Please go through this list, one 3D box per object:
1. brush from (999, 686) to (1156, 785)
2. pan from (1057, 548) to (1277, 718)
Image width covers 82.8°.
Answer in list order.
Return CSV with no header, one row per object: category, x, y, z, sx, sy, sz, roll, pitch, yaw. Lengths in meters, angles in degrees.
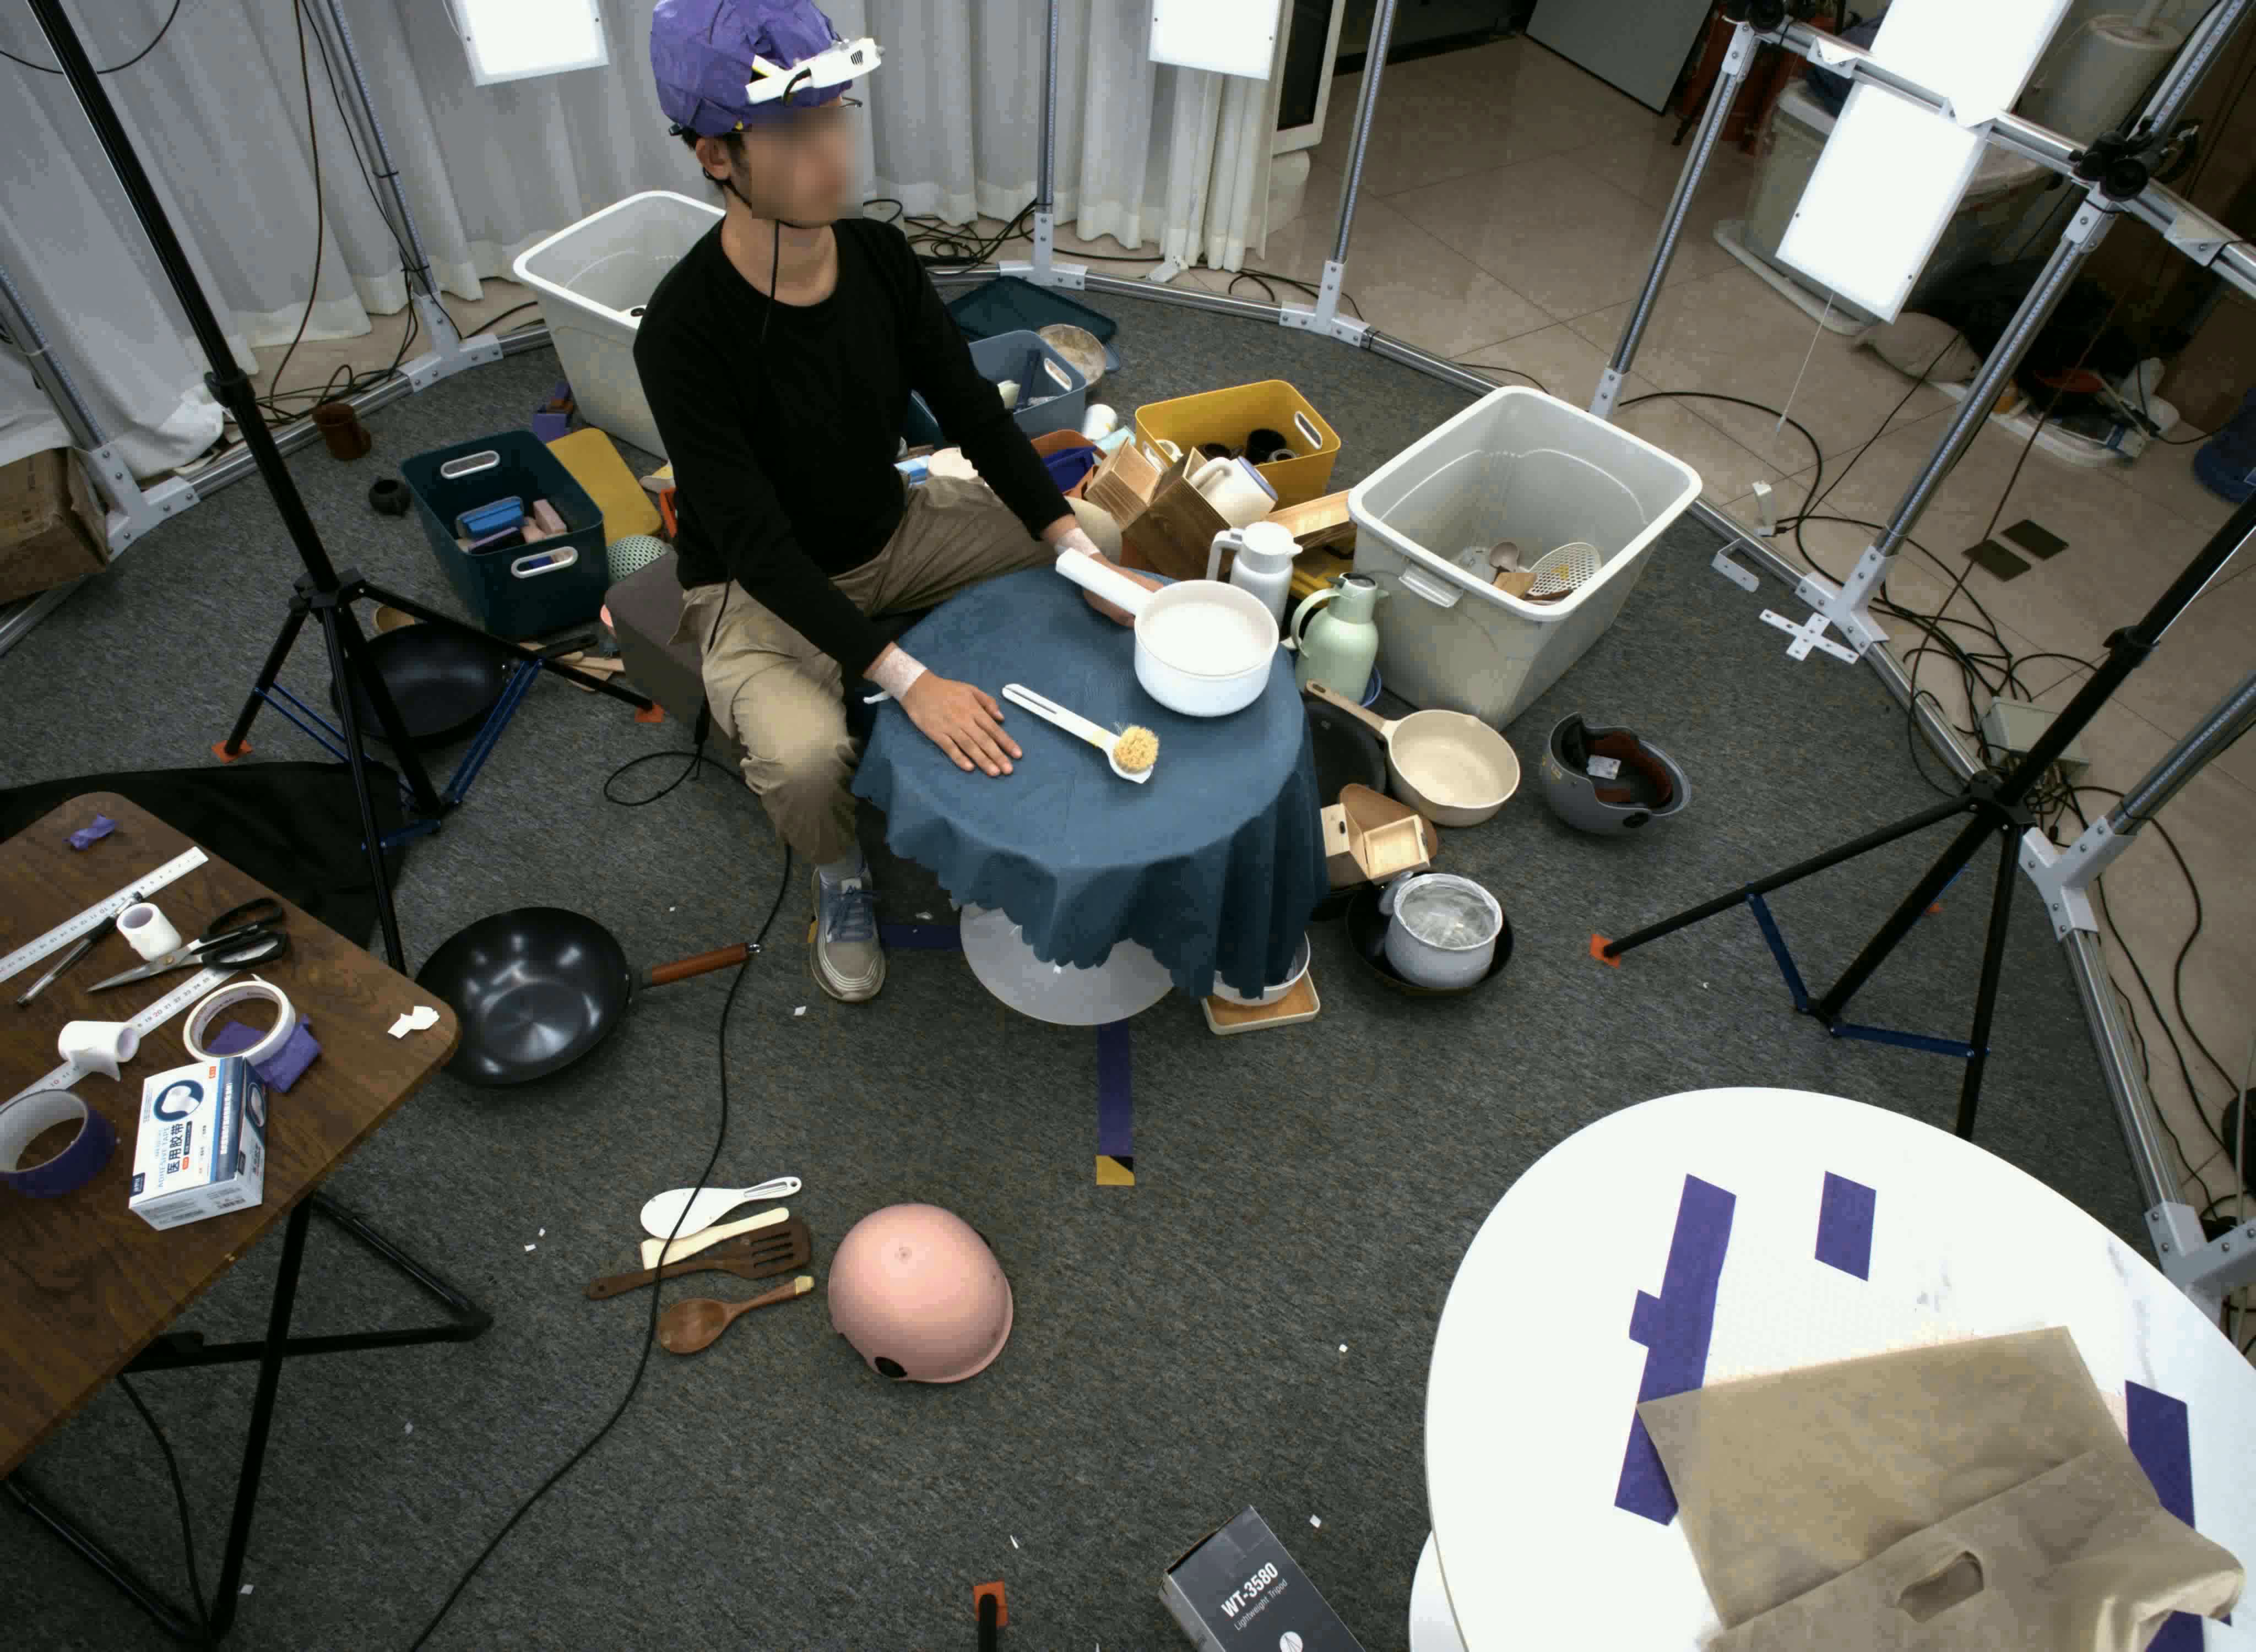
brush,-0.075,-0.143,1.754,0.270,0.055,0.069,34,51,24
pan,0.045,-0.284,1.857,0.359,0.099,0.204,31,55,22
